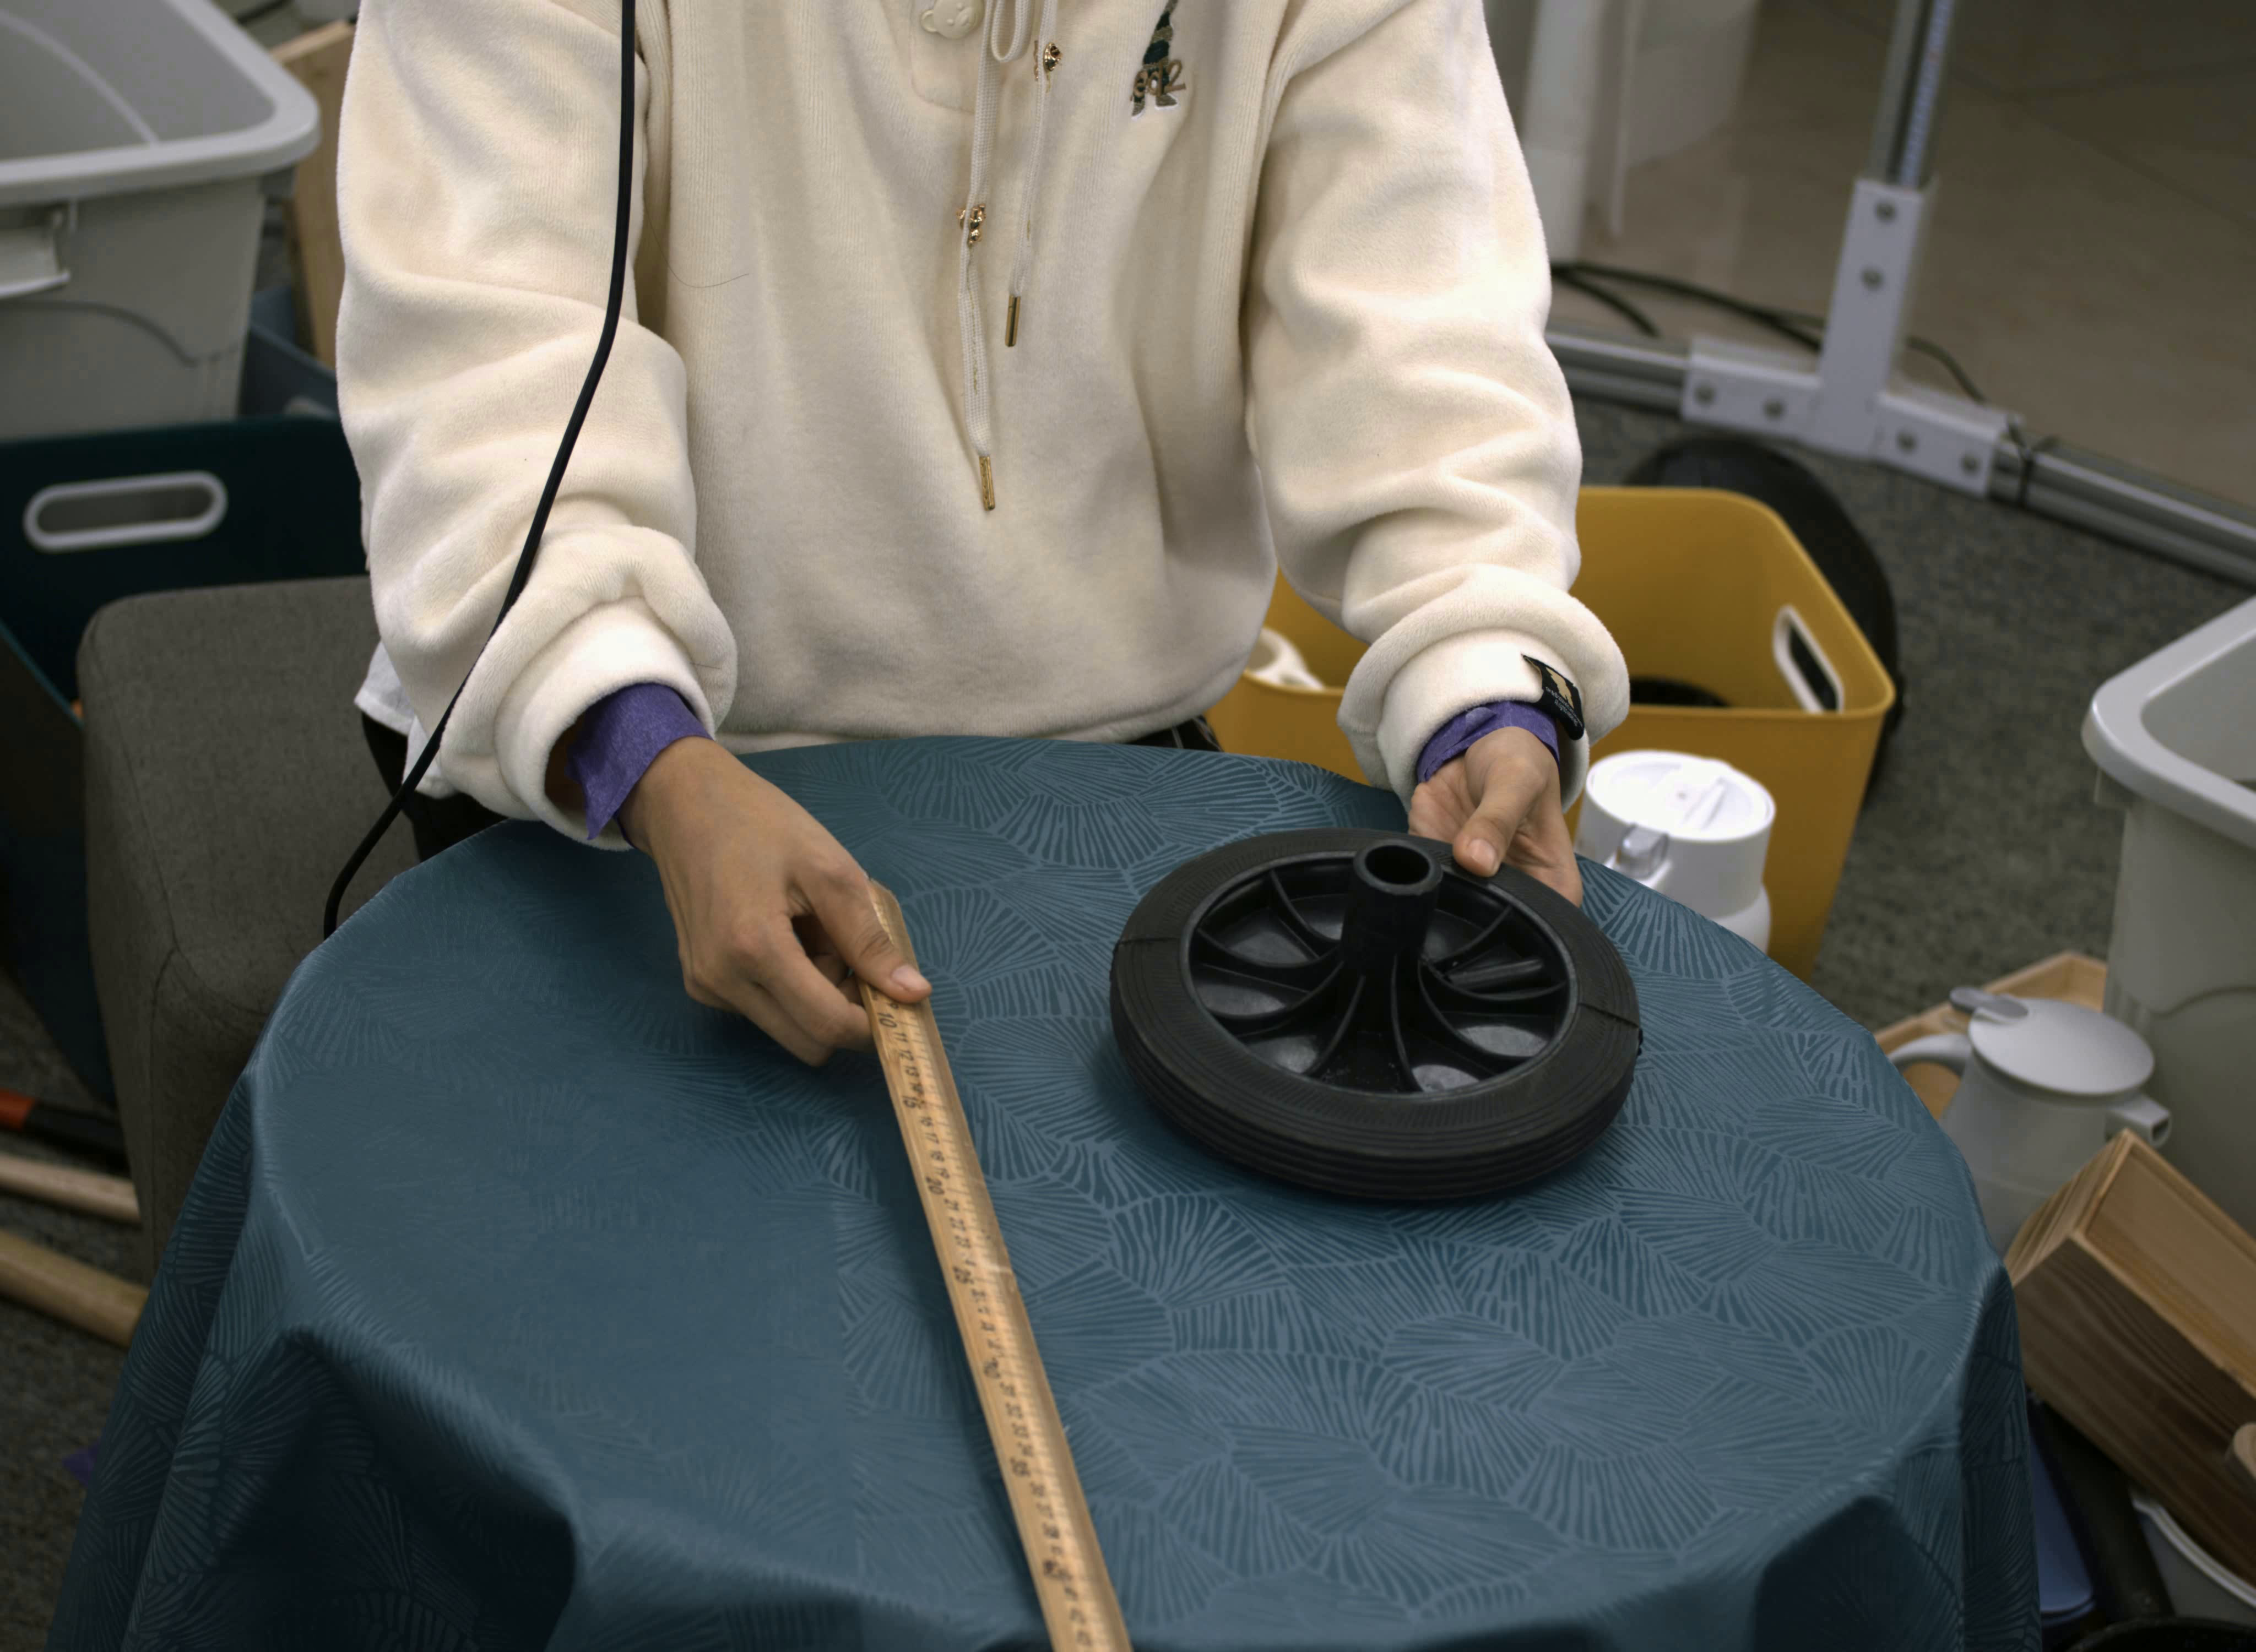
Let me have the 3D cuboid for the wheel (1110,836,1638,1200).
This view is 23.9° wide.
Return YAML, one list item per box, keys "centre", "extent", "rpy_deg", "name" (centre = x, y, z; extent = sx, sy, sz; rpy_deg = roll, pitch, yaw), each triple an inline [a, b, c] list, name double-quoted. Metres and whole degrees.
- centre: [0.090, 0.048, 1.865]
  extent: [0.189, 0.079, 0.189]
  rpy_deg: [33, 43, 32]
  name: "wheel"

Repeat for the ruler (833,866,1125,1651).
- centre: [-0.048, 0.147, 1.710]
  extent: [0.026, 0.006, 0.505]
  rpy_deg: [14, 27, -20]
  name: "ruler"
